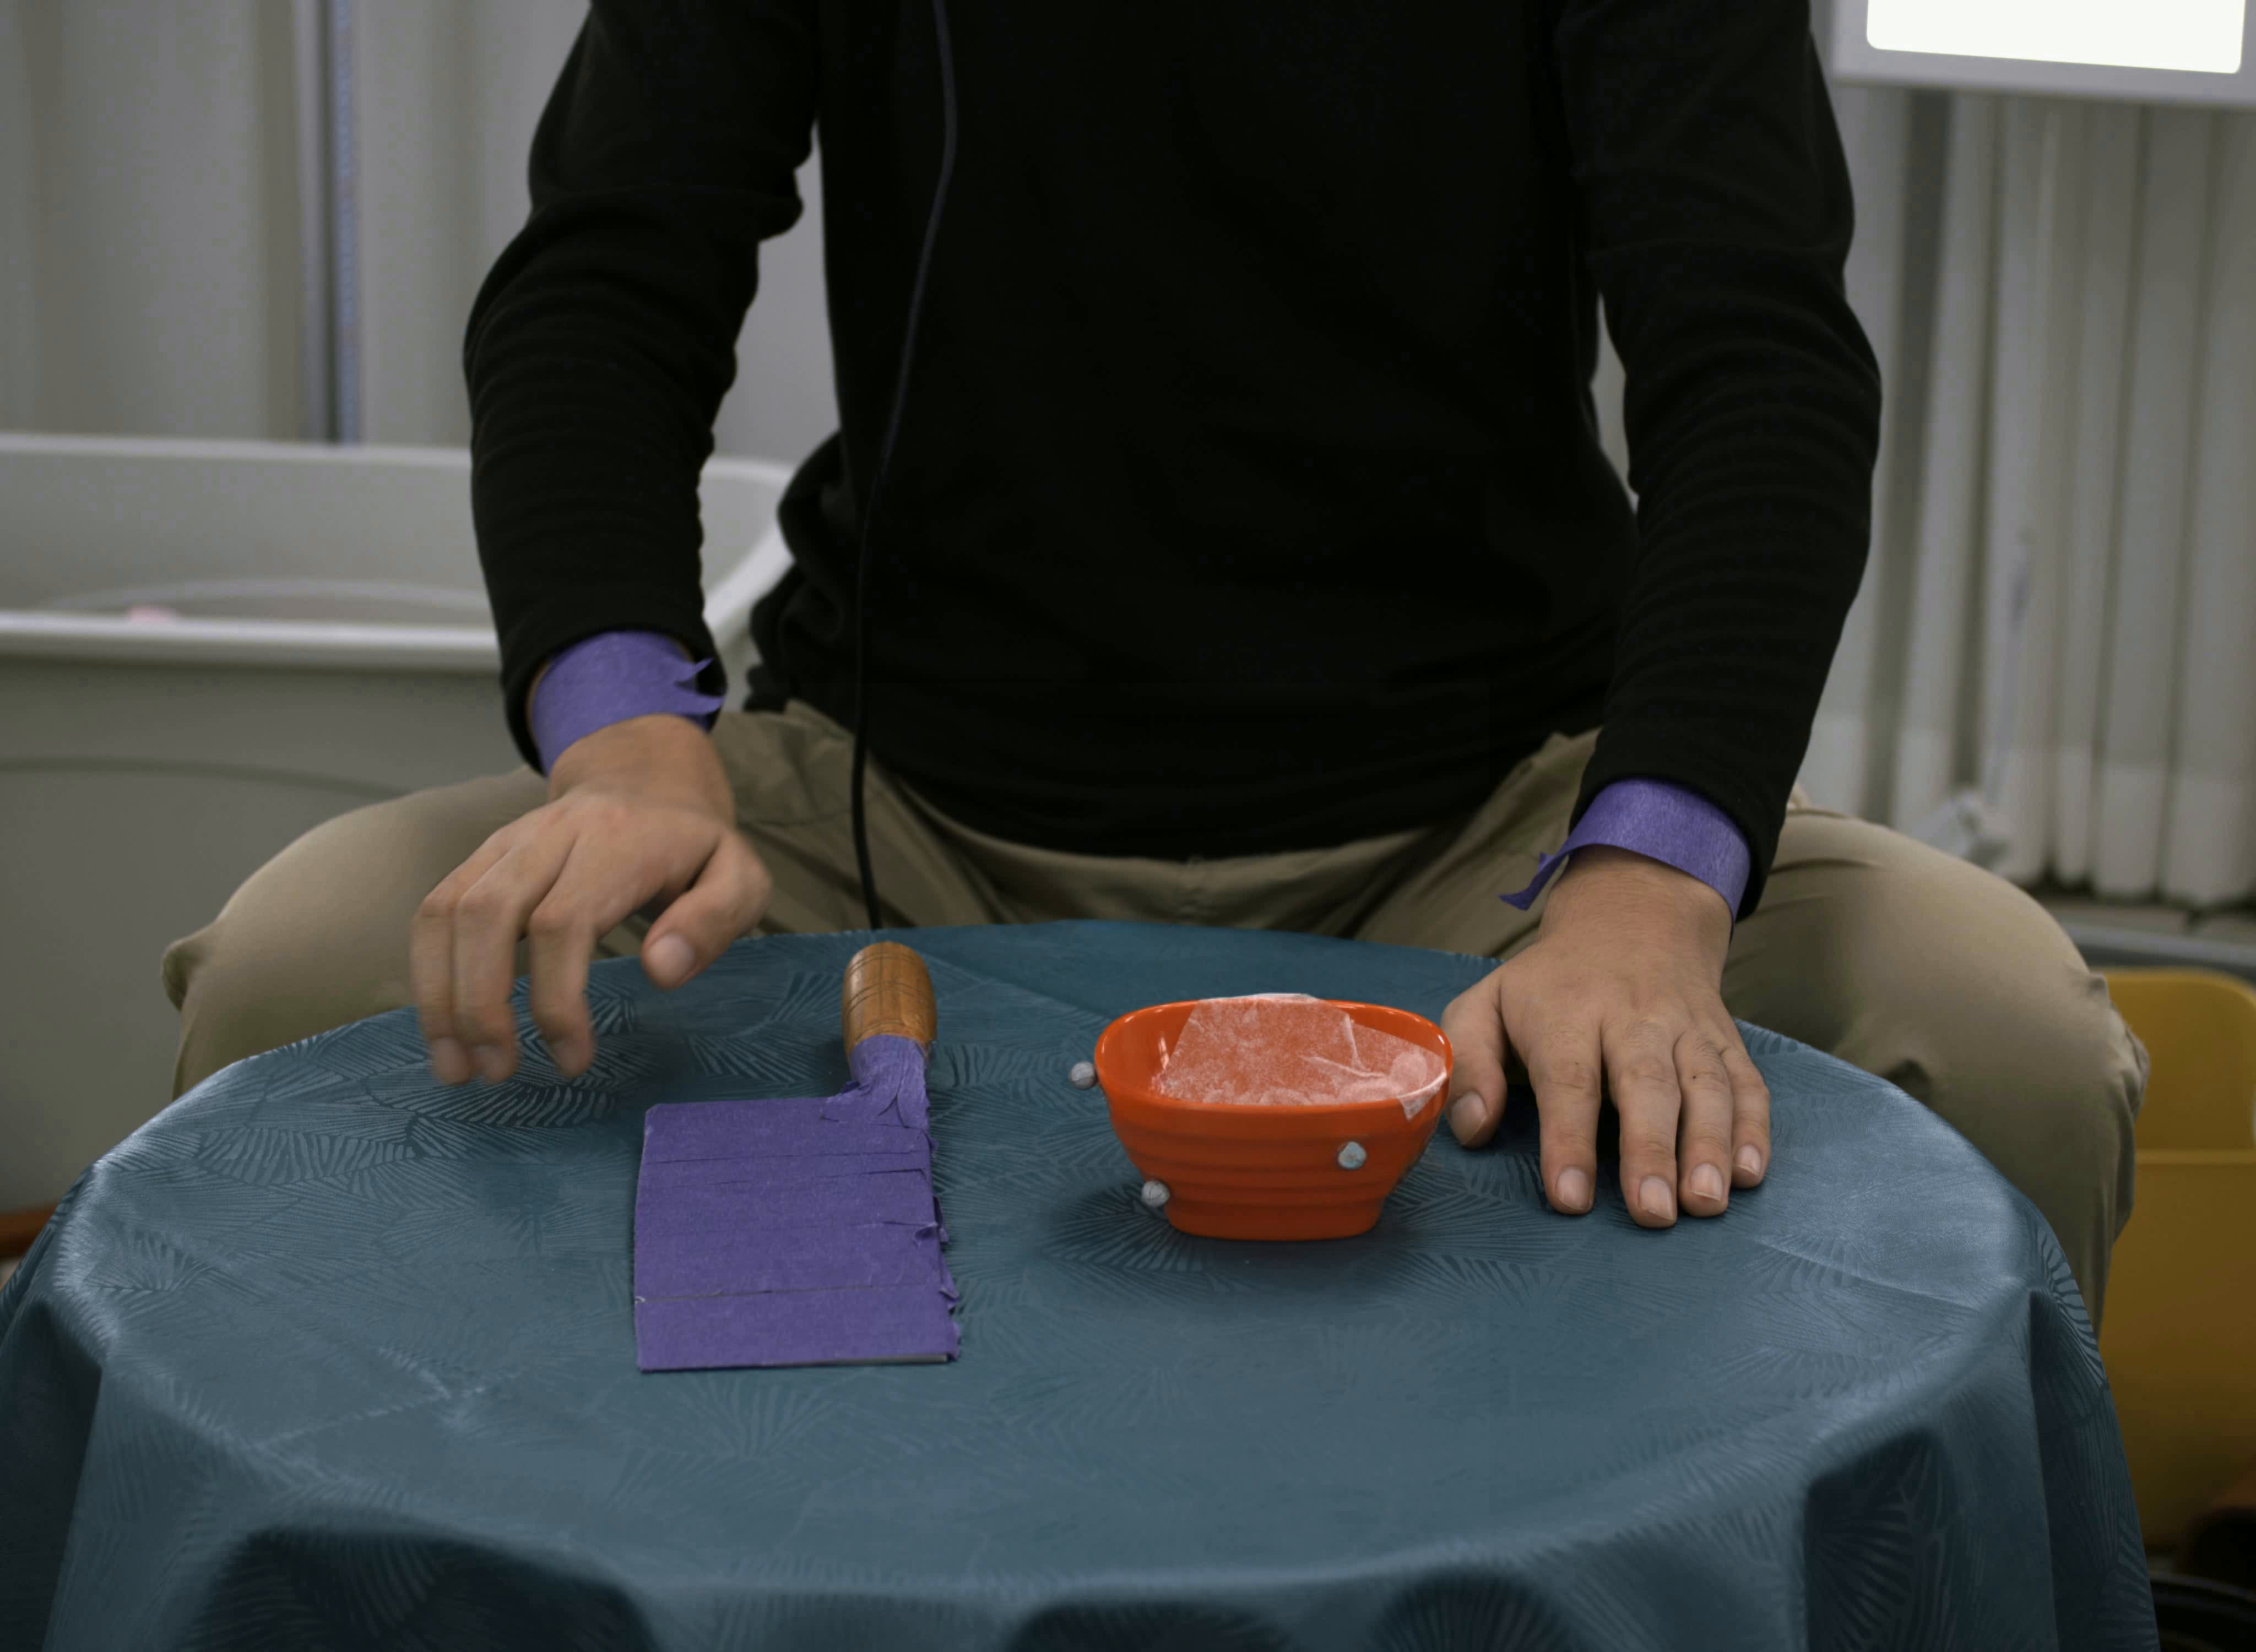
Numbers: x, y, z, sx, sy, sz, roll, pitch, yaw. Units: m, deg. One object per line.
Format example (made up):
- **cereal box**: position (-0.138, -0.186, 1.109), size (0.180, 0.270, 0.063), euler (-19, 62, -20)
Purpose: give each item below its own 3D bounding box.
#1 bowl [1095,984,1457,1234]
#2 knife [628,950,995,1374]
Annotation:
- **bowl**: position (0.045, 0.088, 1.604), size (0.118, 0.052, 0.118), euler (0, 17, 0)
- **knife**: position (-0.101, 0.099, 1.618), size (0.104, 0.032, 0.313), euler (-1, 16, -5)
